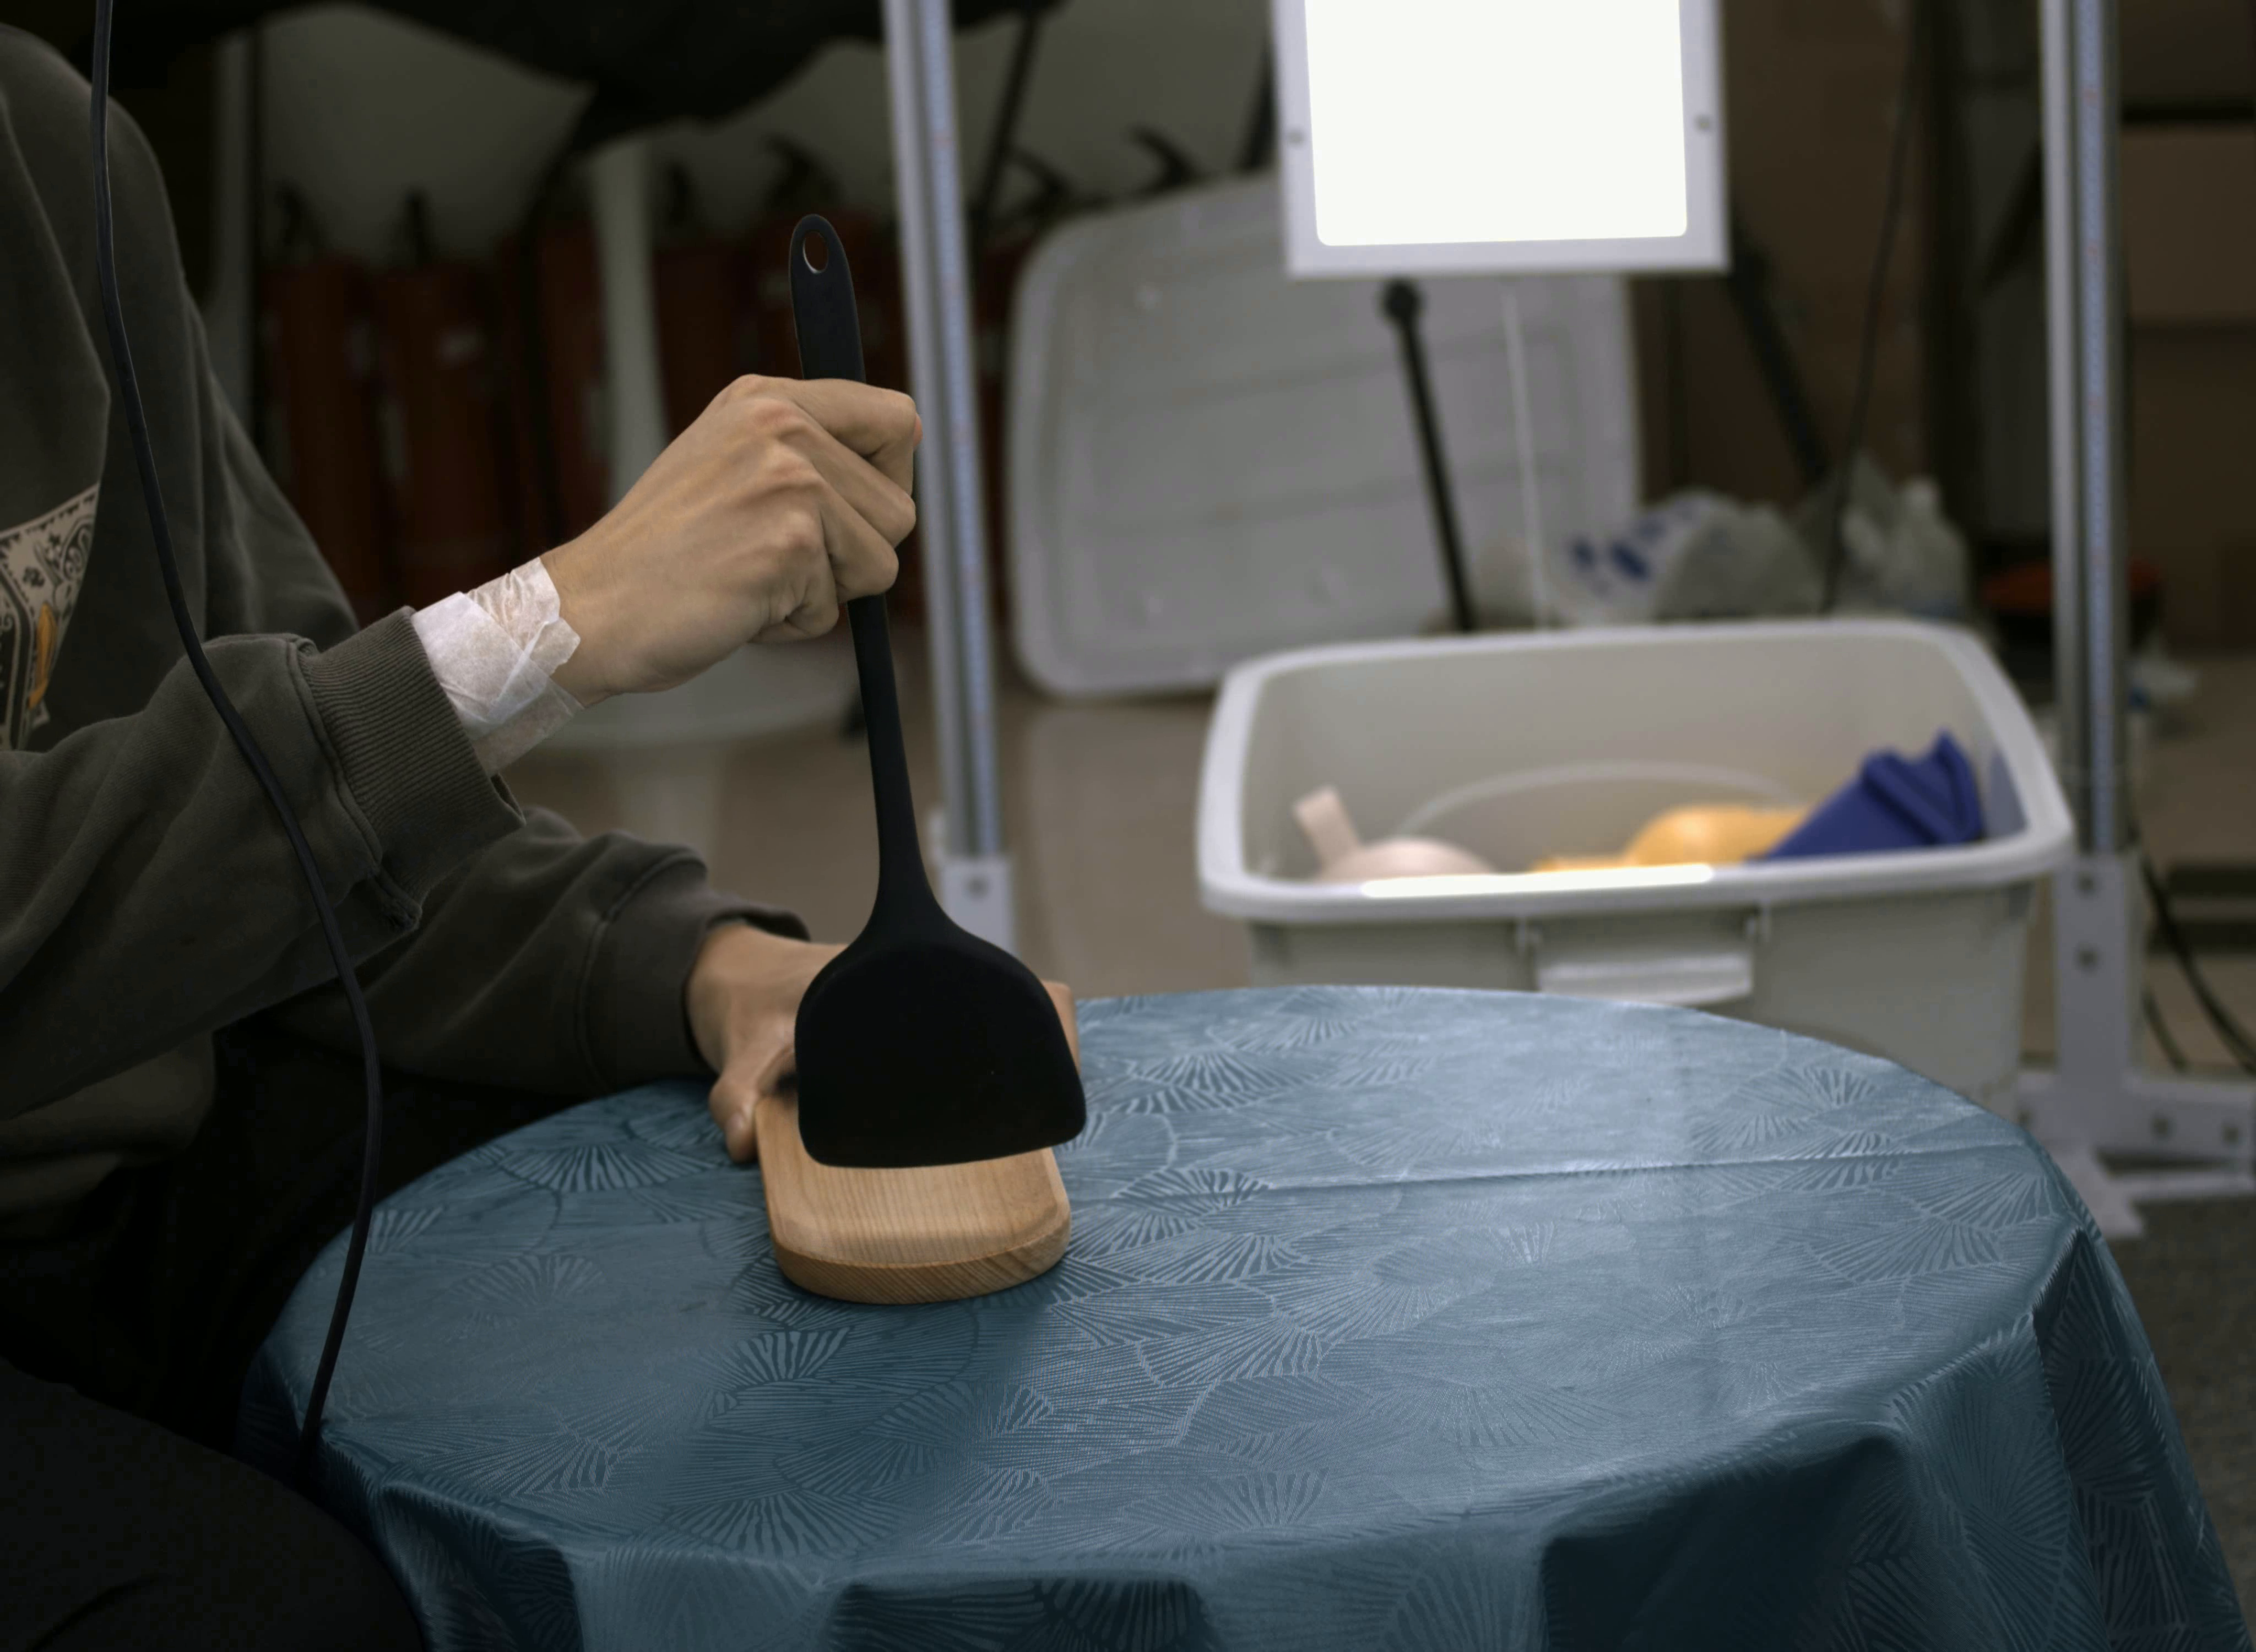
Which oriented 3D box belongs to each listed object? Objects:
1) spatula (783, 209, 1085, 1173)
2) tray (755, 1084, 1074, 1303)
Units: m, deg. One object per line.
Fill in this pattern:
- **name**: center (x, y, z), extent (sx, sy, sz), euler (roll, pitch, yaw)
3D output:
- **spatula**: center (-0.082, -0.040, 1.803), extent (0.100, 0.327, 0.040), euler (-6, 11, 6)
- **tray**: center (-0.075, 0.123, 1.905), extent (0.101, 0.020, 0.231), euler (-6, 15, -5)
